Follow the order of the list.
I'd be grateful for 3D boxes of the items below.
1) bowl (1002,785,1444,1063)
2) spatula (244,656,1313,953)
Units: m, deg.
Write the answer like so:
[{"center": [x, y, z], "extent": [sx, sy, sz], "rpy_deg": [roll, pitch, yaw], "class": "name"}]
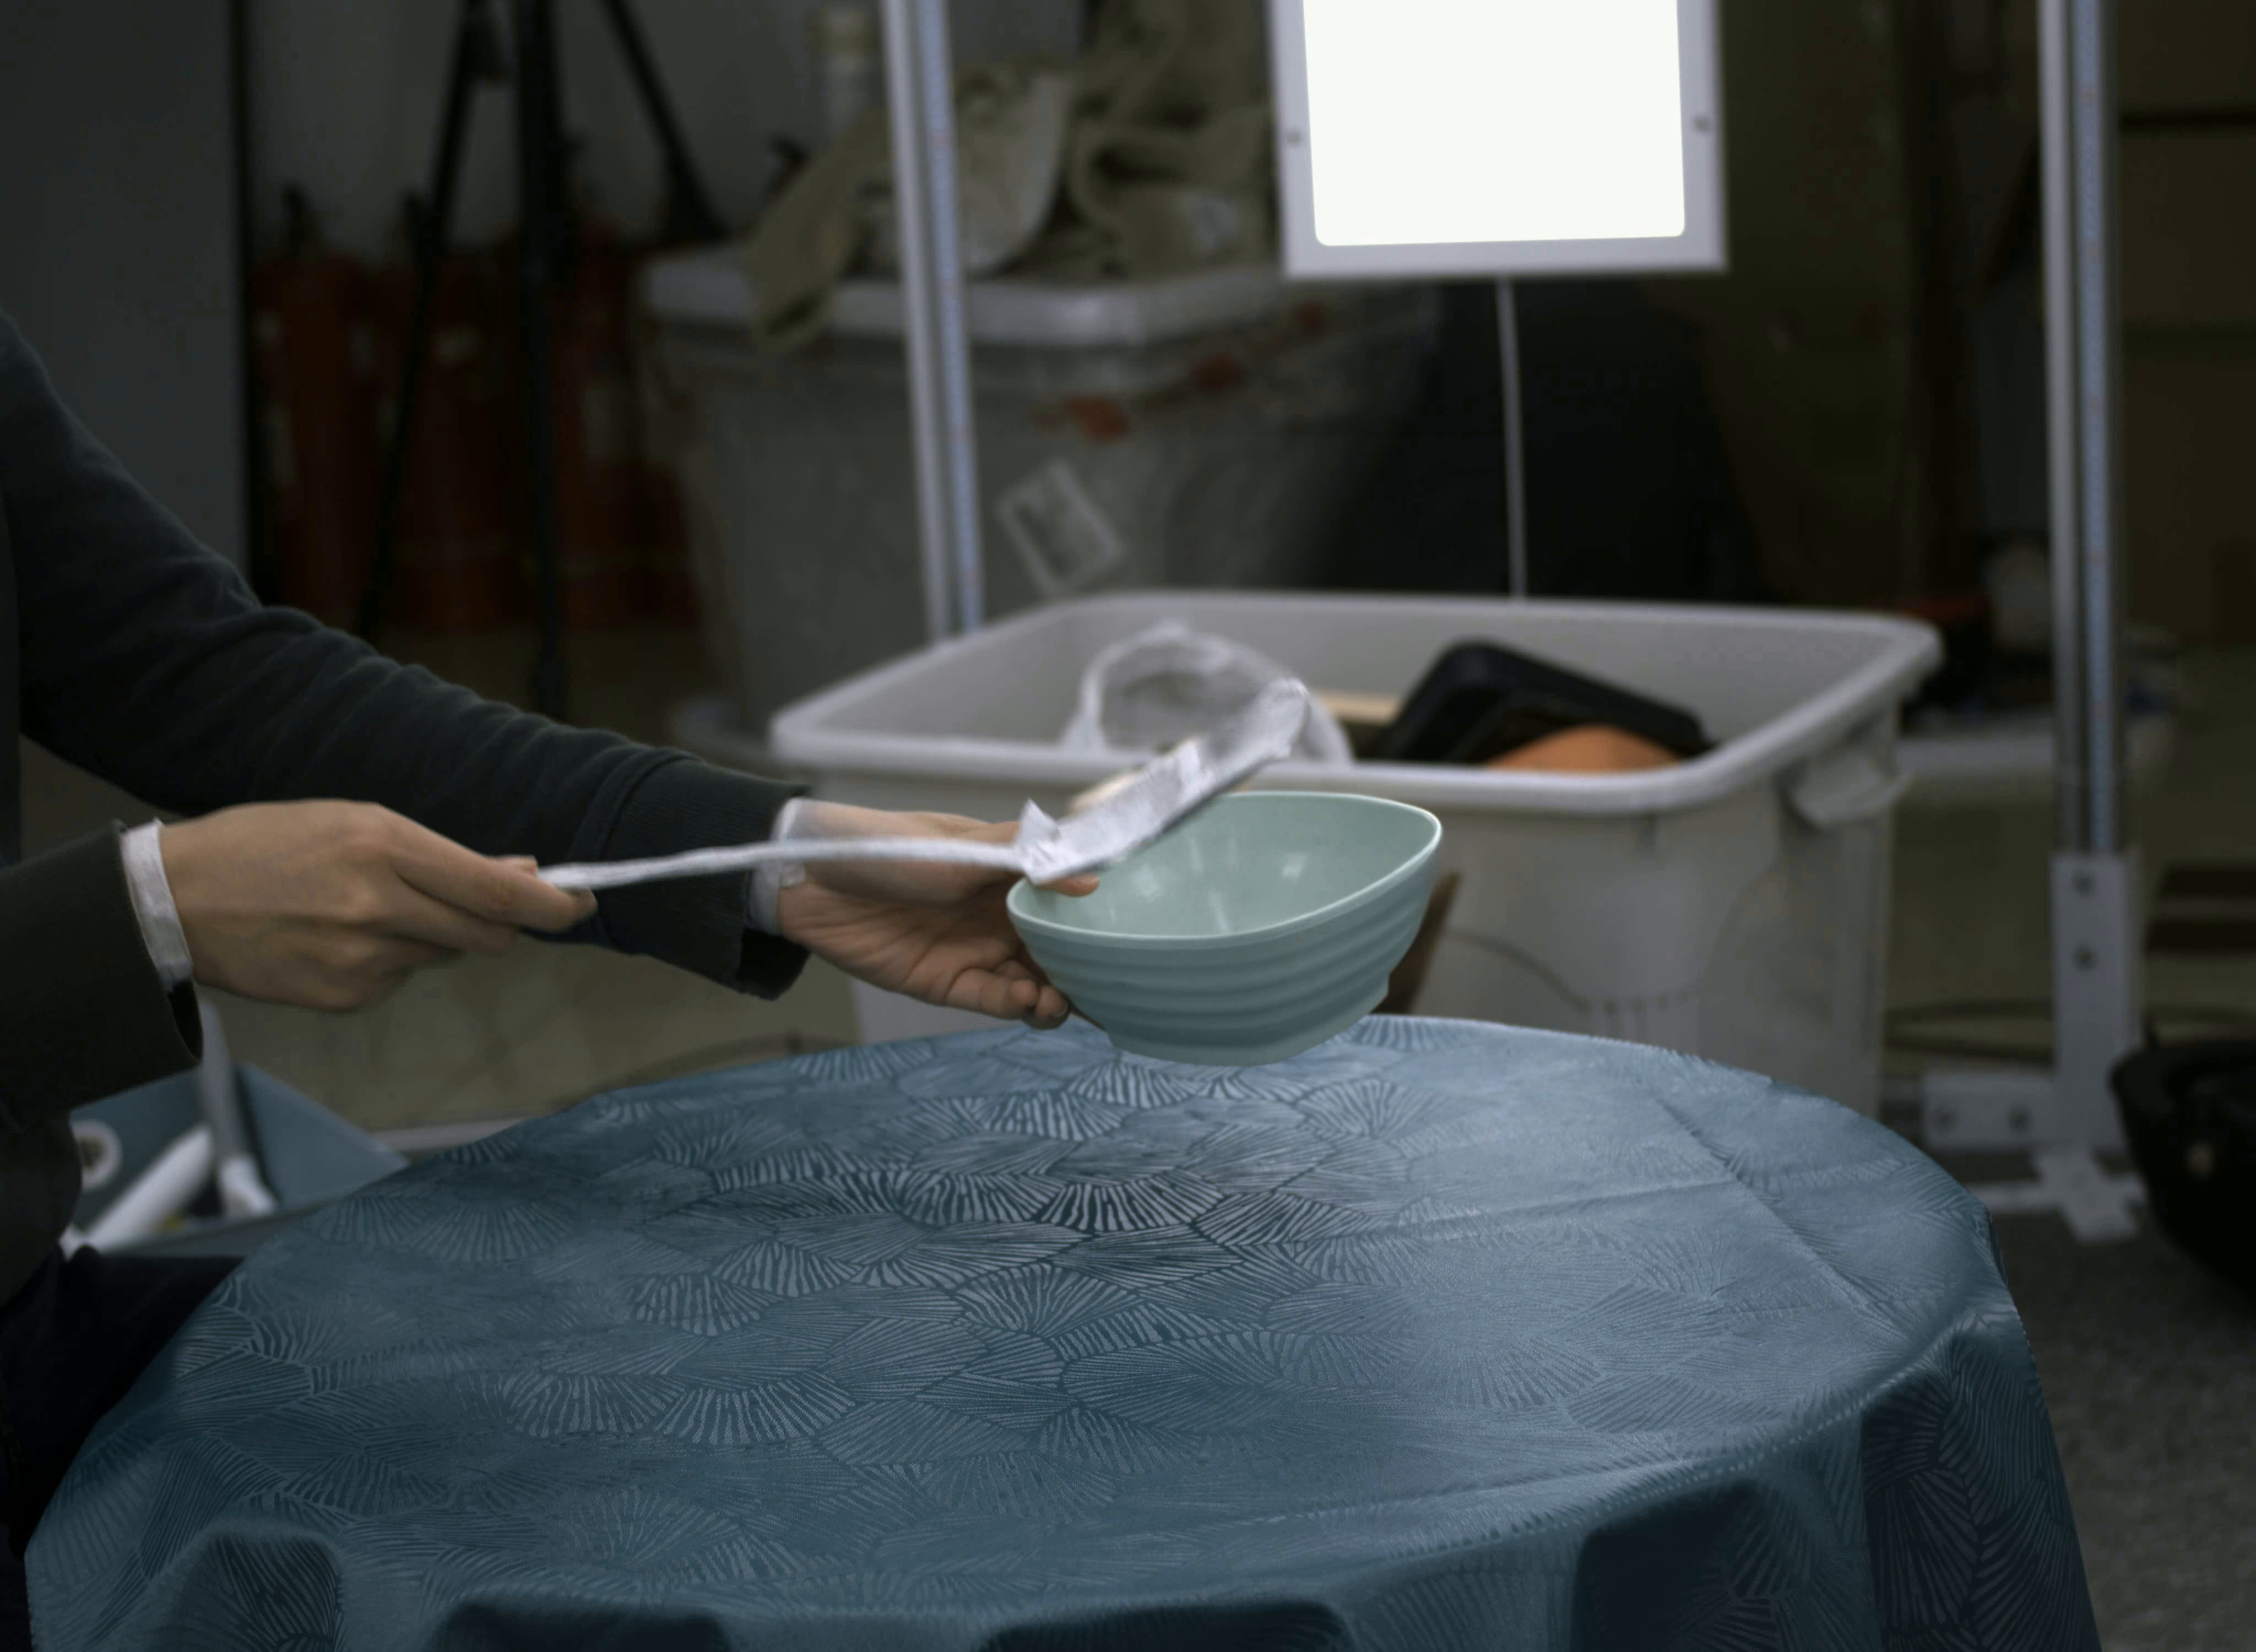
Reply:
[{"center": [0.035, 0.037, 1.877], "extent": [0.151, 0.059, 0.151], "rpy_deg": [-6, 19, 1], "class": "bowl"}, {"center": [-0.117, 0.001, 1.745], "extent": [0.368, 0.045, 0.097], "rpy_deg": [-7, 18, 13], "class": "spatula"}]
